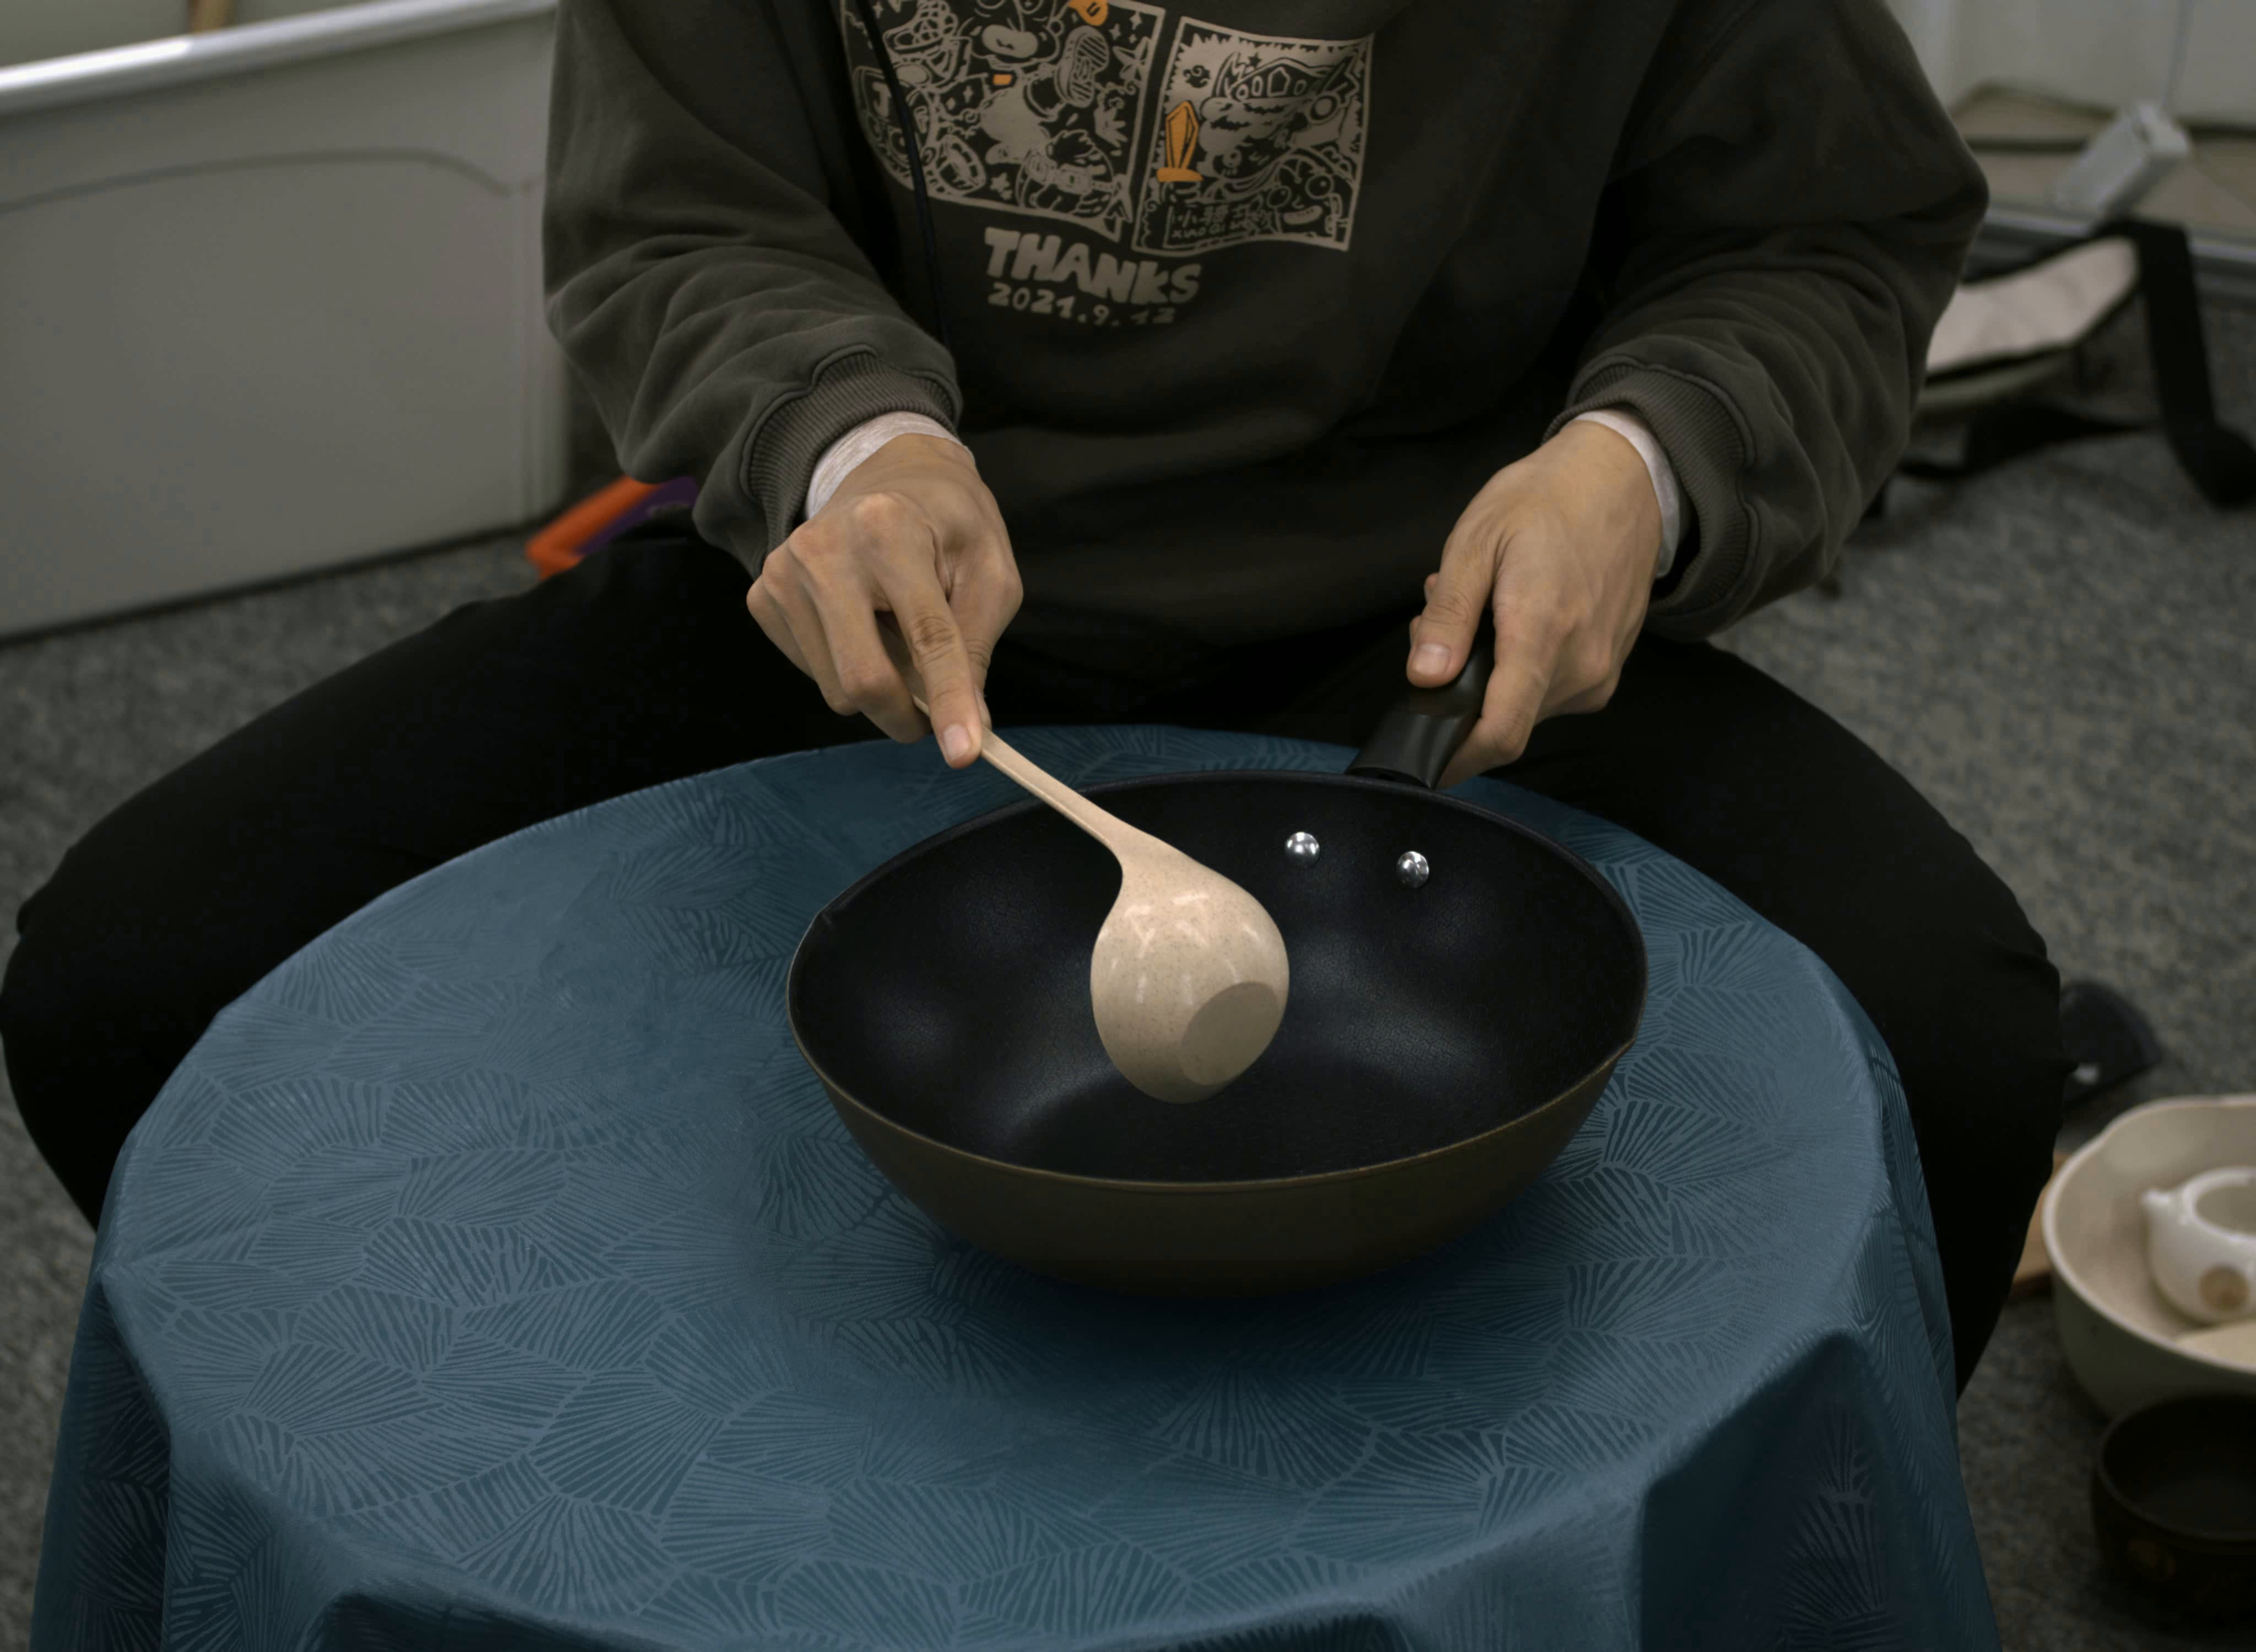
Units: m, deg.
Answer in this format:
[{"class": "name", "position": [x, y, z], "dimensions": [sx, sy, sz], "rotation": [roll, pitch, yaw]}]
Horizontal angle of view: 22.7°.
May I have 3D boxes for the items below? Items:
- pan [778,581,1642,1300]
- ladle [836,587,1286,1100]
[{"class": "pan", "position": [0.064, 0.040, 1.924], "dimensions": [0.286, 0.086, 0.471], "rotation": [9, 28, 22]}, {"class": "ladle", "position": [-0.035, 0.006, 1.887], "dimensions": [0.072, 0.072, 0.256], "rotation": [-10, 32, -31]}]
